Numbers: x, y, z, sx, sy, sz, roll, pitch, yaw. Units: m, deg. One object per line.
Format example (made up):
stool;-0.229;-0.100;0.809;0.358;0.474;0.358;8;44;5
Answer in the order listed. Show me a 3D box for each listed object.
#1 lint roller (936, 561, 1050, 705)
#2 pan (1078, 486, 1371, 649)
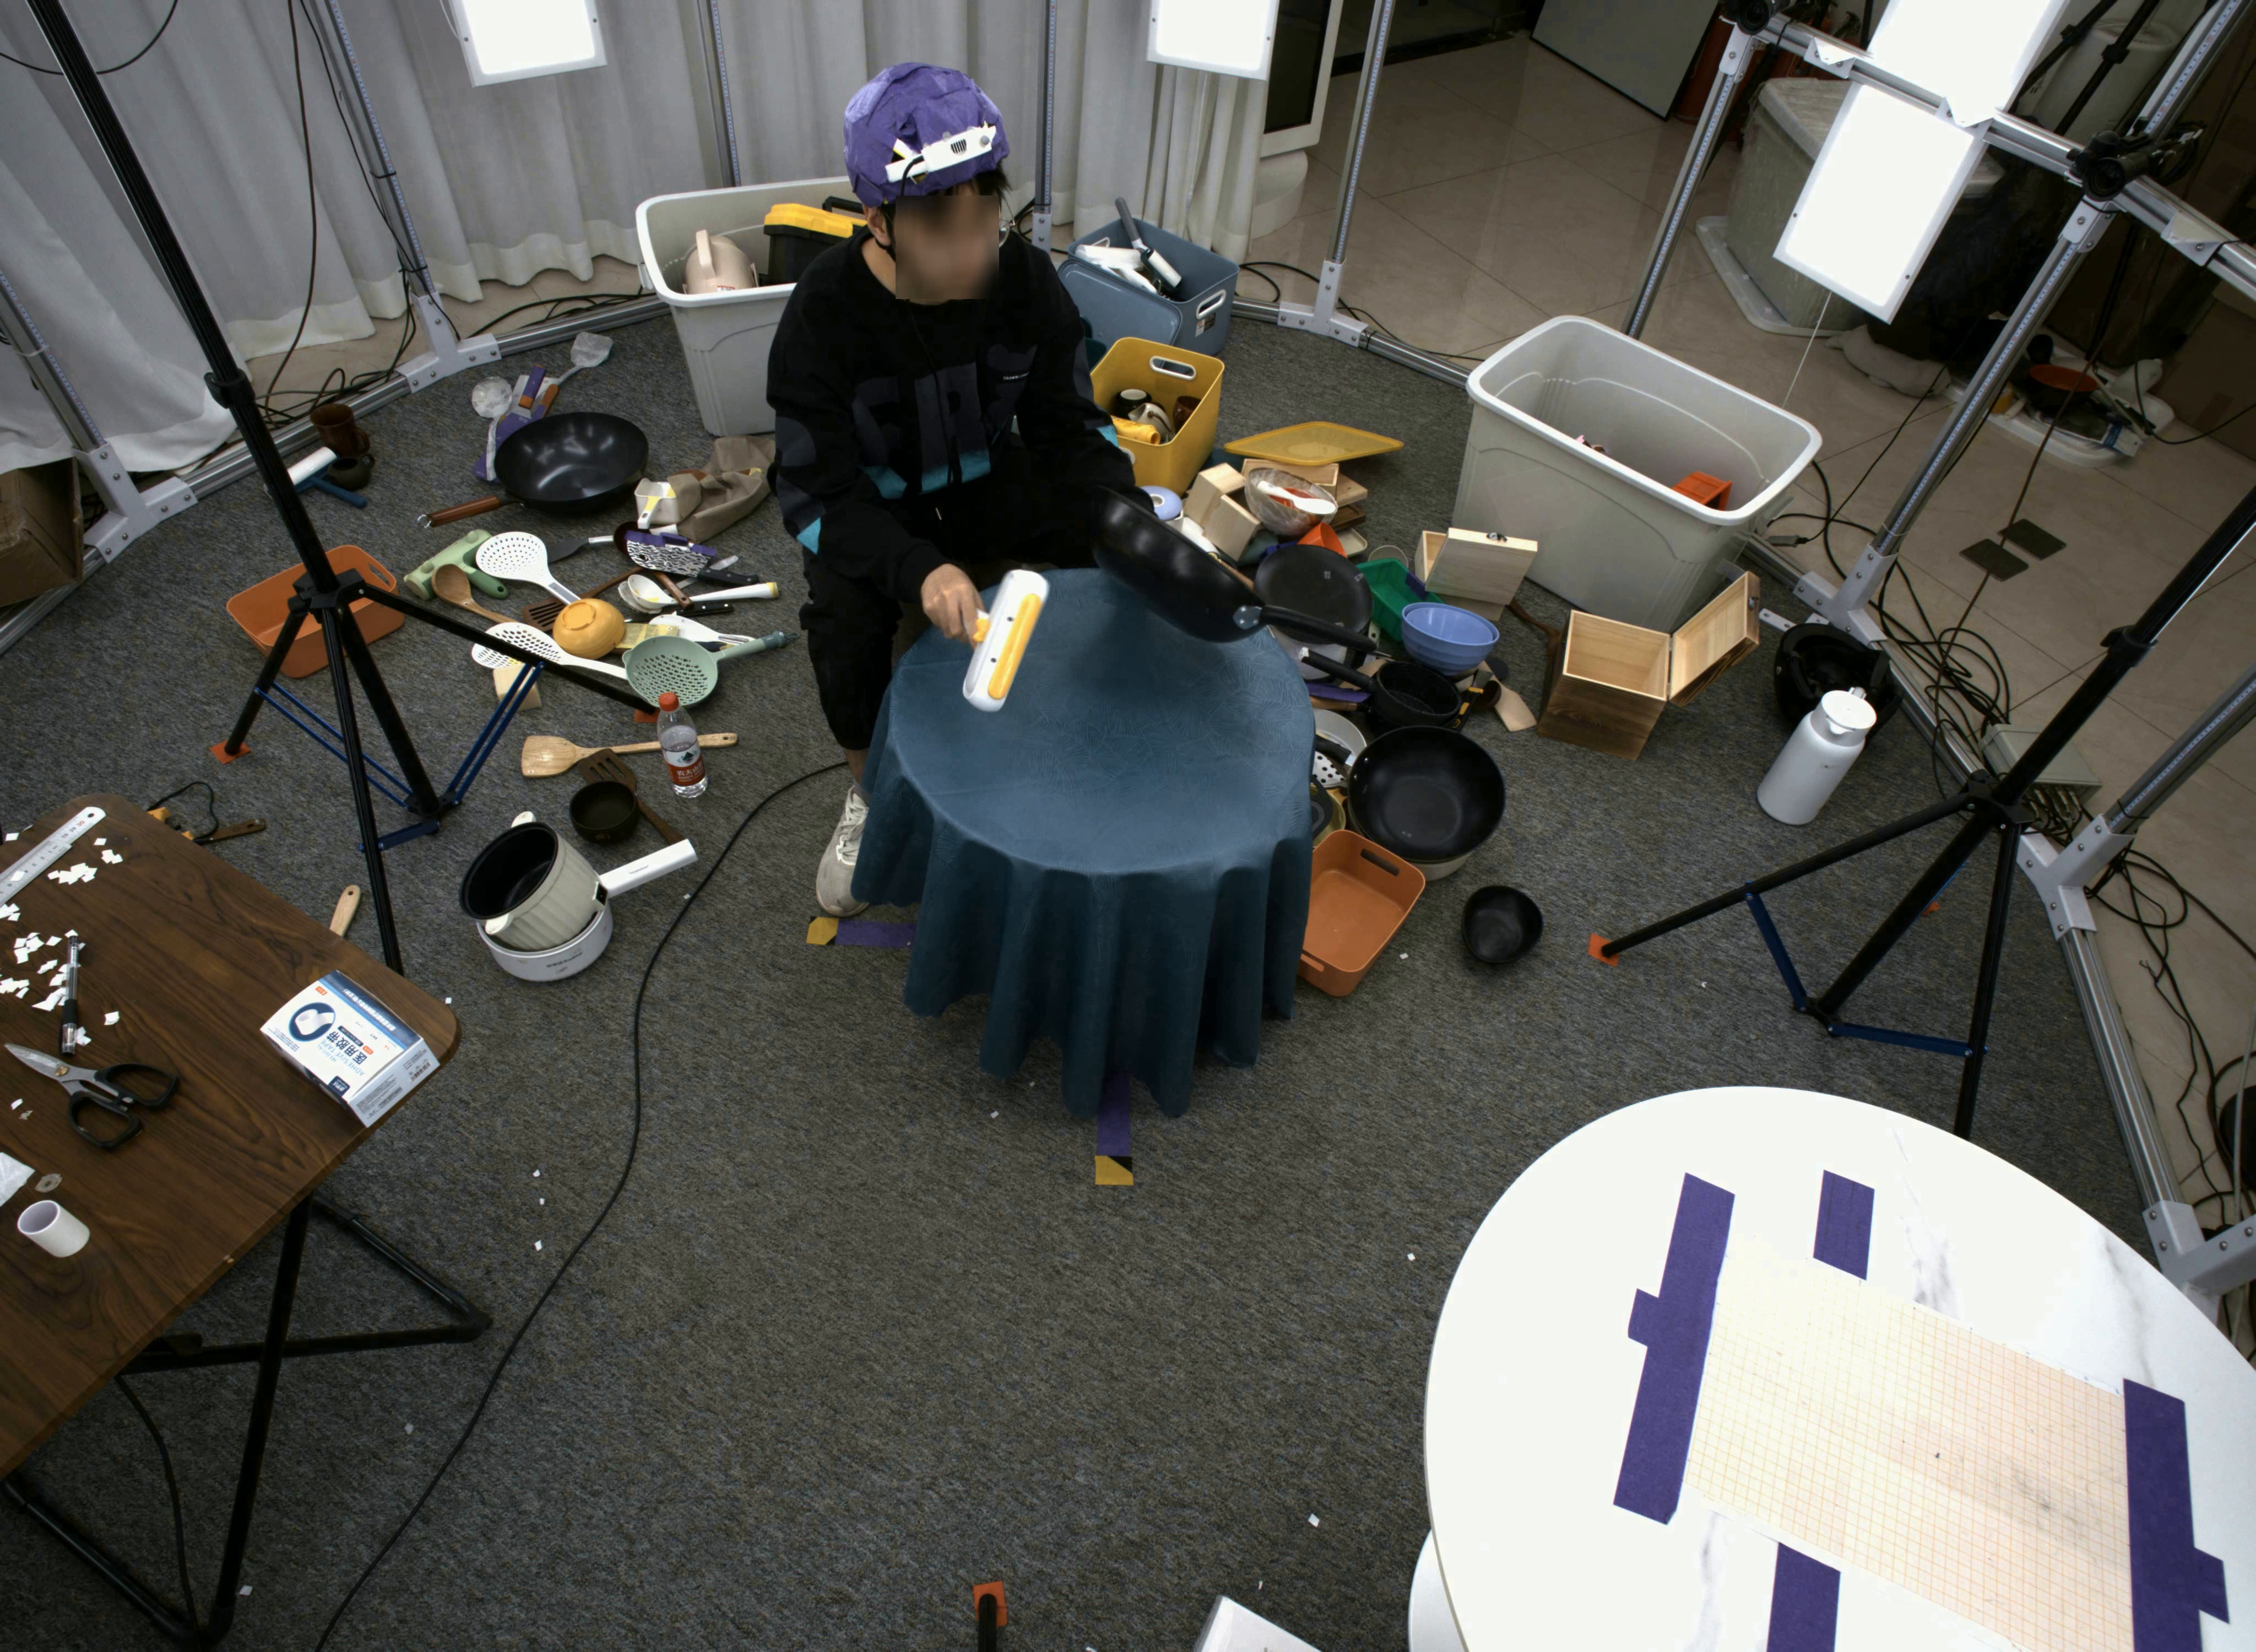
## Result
lint roller;-0.192;-0.271;1.722;0.073;0.192;0.195;13;10;-35
pan;0.109;-0.306;1.715;0.485;0.306;0.111;38;97;33
